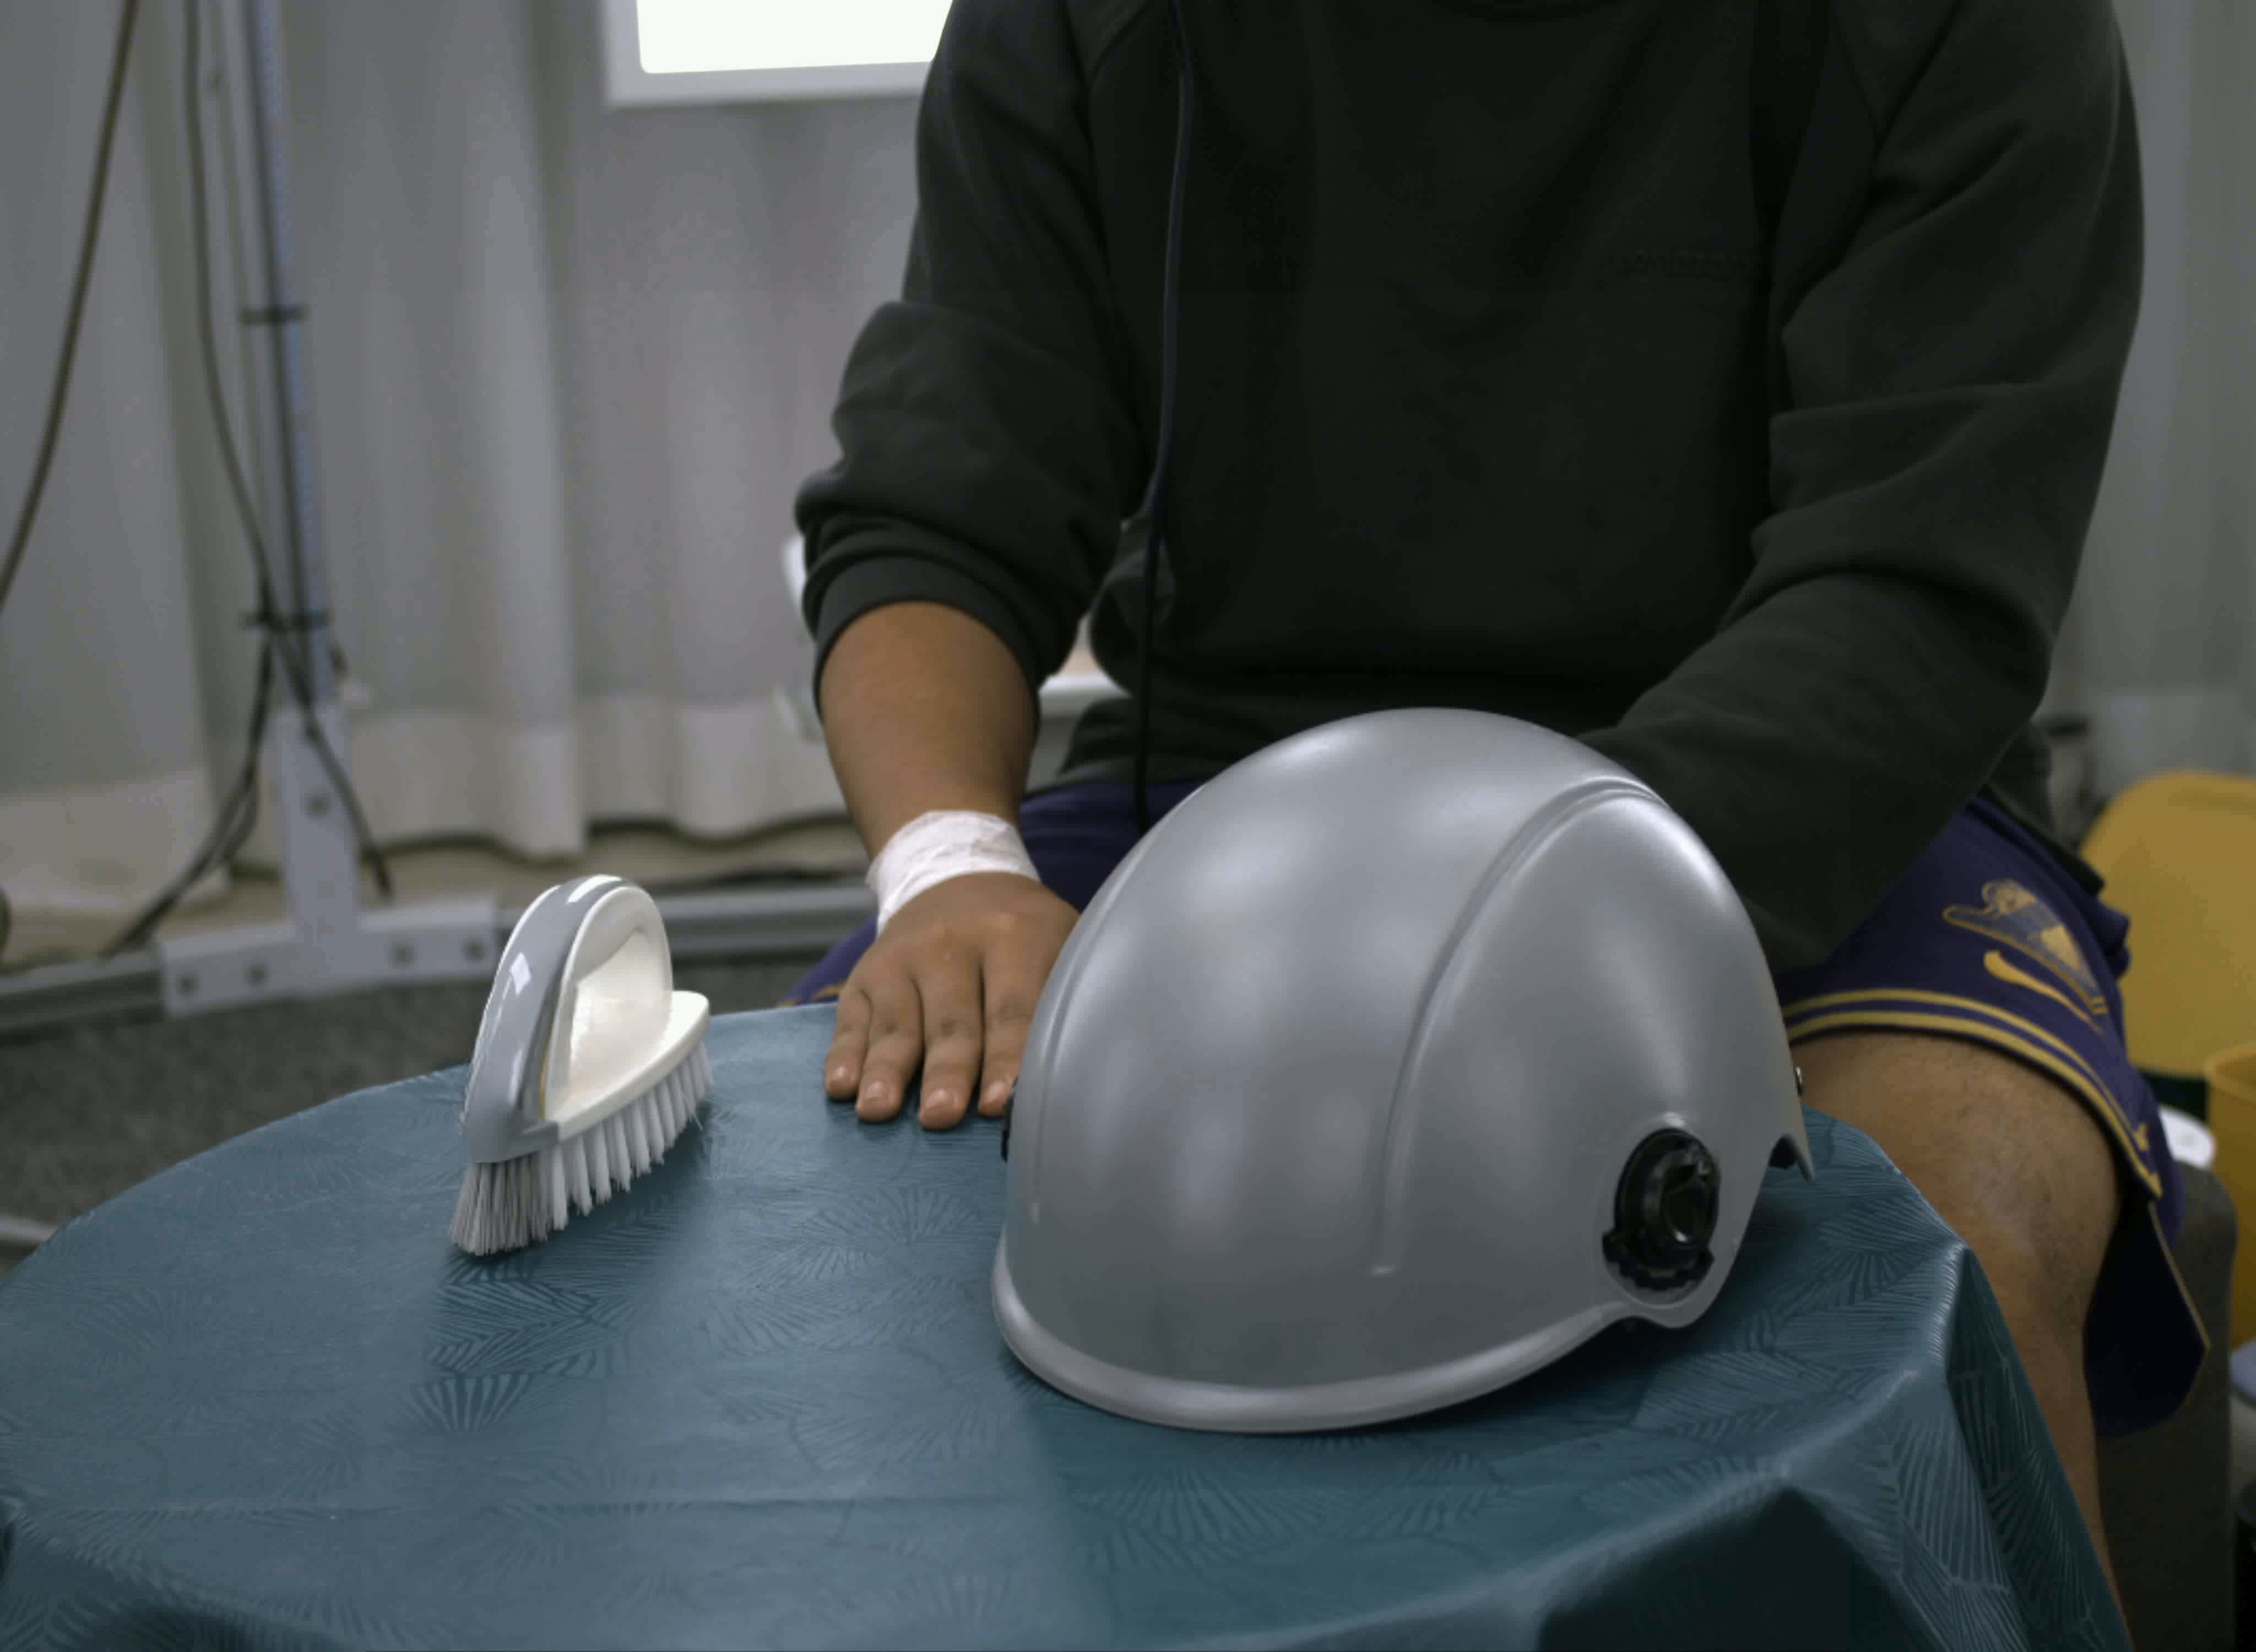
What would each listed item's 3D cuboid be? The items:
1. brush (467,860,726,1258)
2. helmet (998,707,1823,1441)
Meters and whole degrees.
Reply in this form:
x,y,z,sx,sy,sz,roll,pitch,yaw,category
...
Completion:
x,y,z,sx,sy,sz,roll,pitch,yaw,category
-0.179,0.068,1.750,0.061,0.094,0.176,-1,17,13,brush
0.077,0.056,1.607,0.232,0.168,0.276,5,18,31,helmet
